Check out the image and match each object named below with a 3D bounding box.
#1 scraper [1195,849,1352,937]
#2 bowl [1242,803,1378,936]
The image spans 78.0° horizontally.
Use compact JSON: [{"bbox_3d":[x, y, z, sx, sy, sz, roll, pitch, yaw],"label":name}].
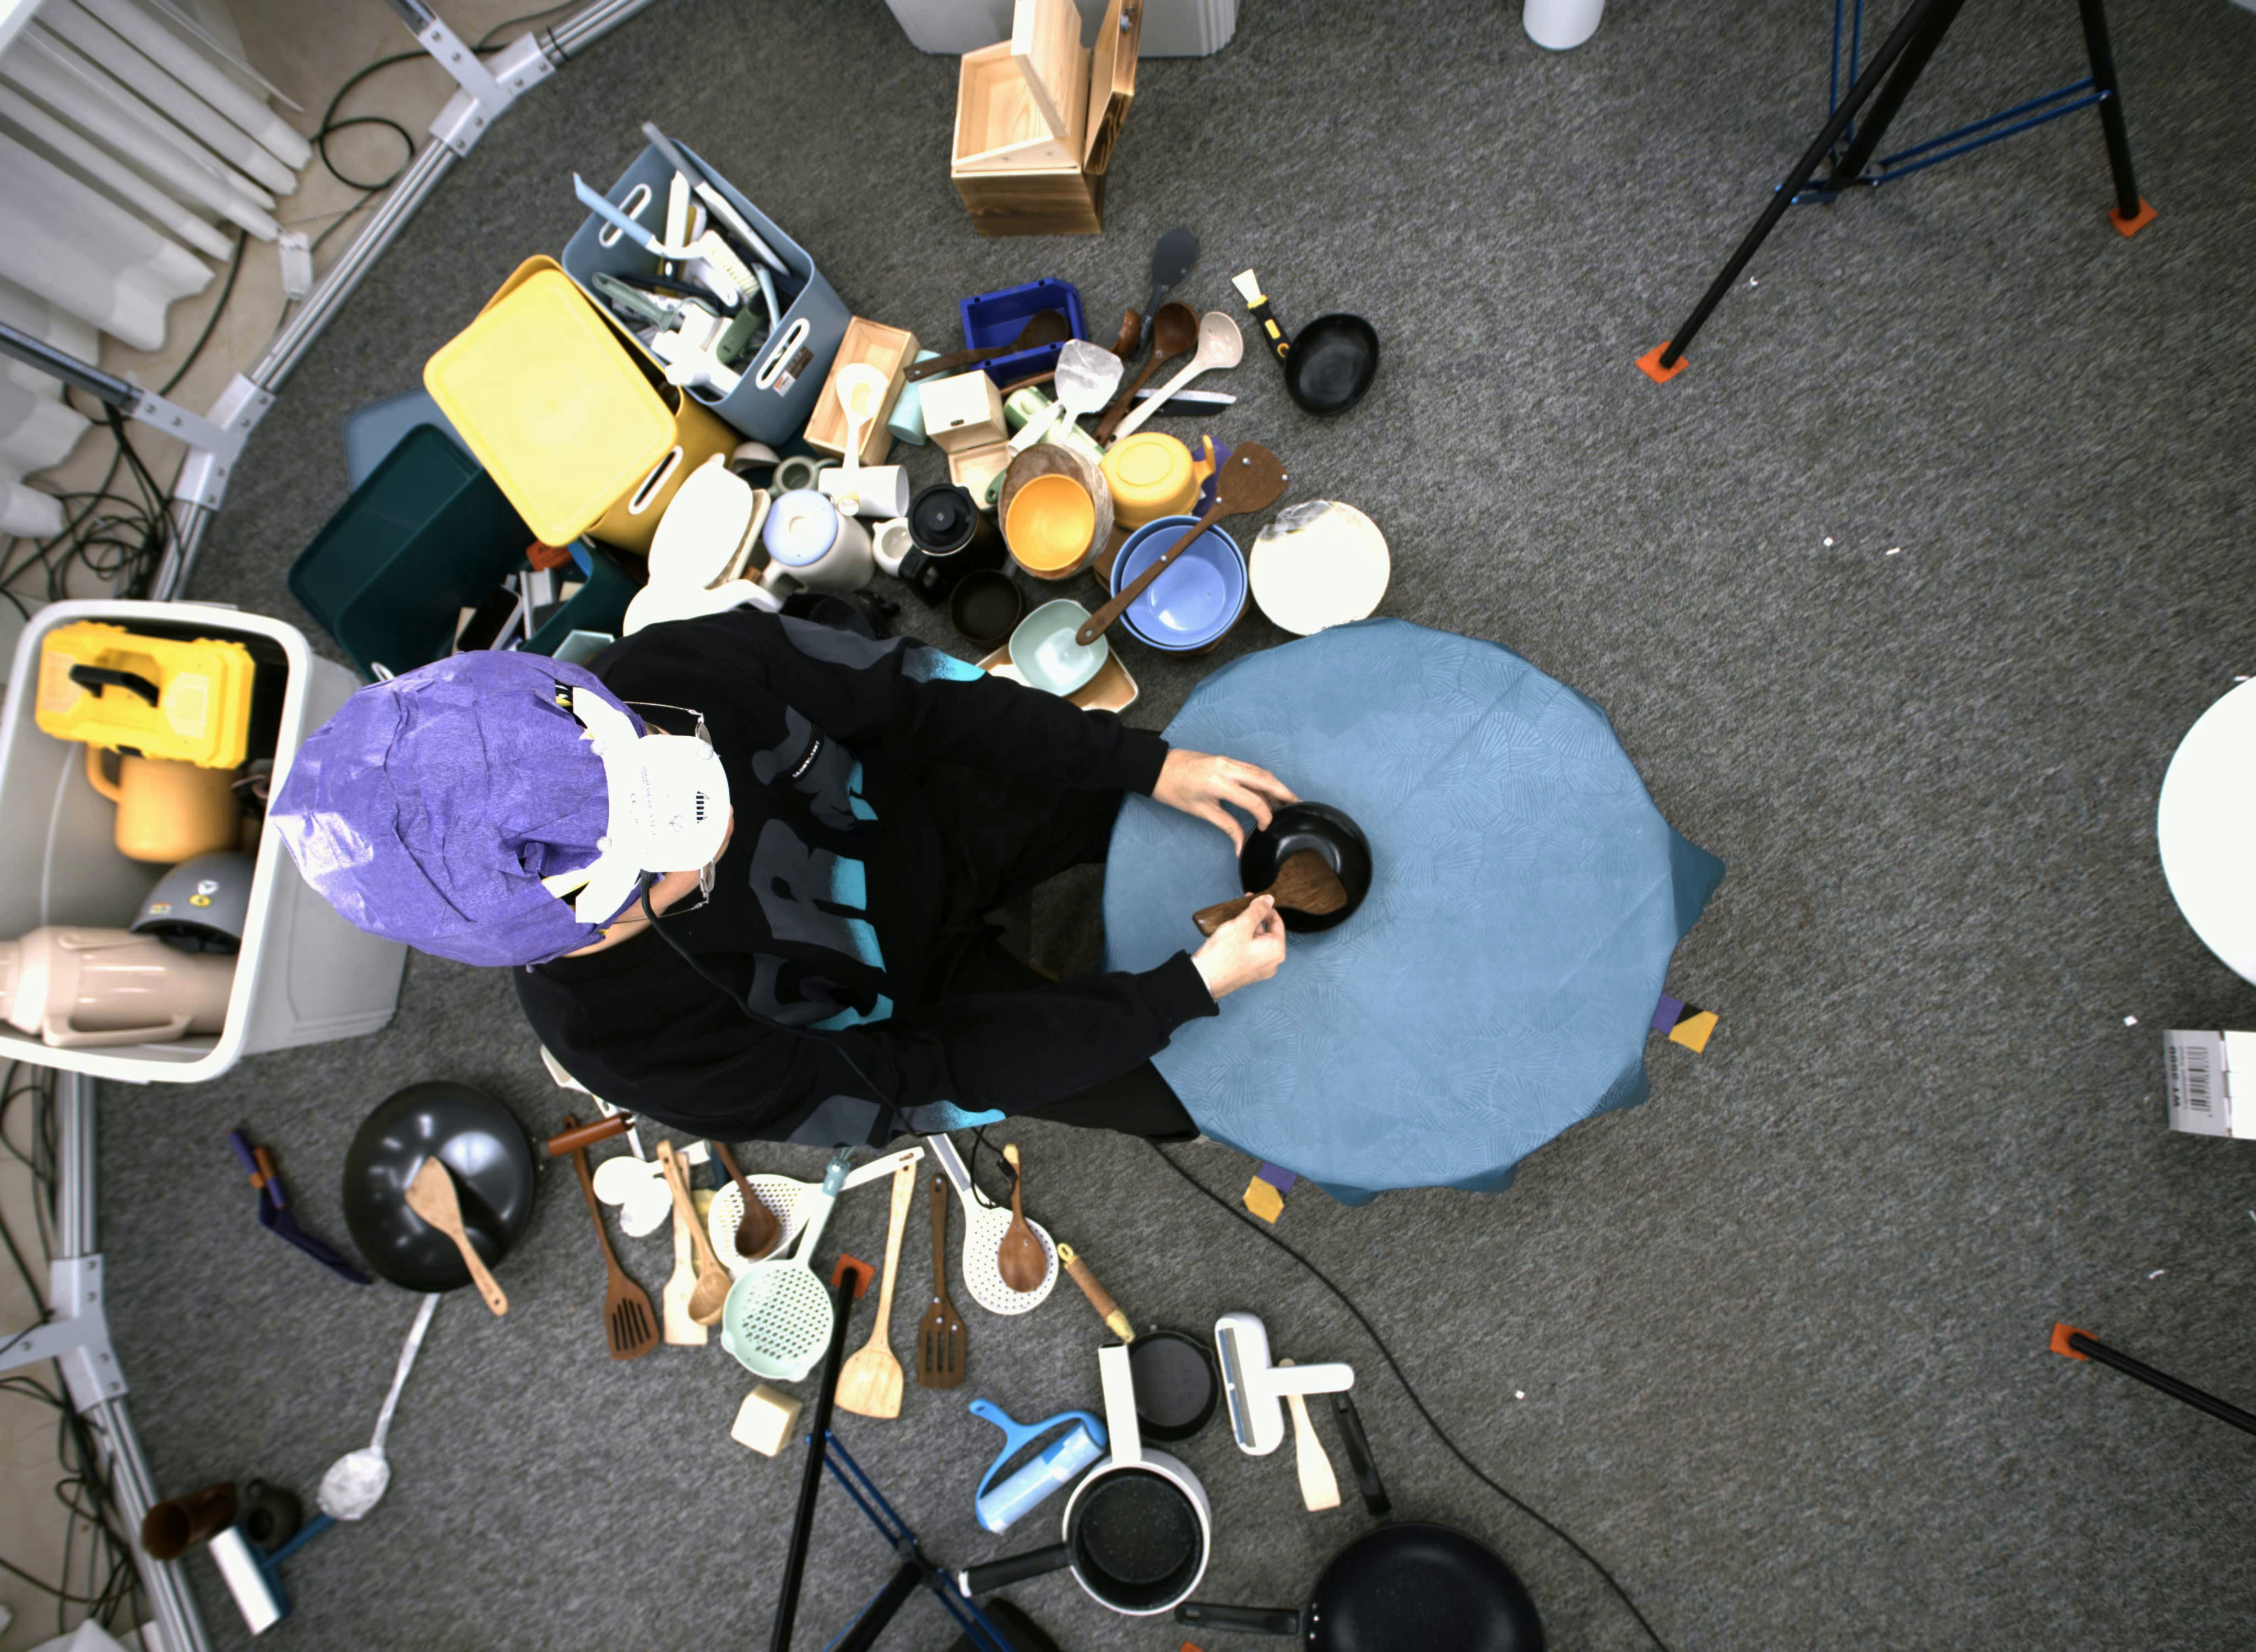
[{"bbox_3d":[0.144,0.075,1.396,0.075,0.208,0.011,58,136,17],"label":"scraper"},{"bbox_3d":[0.189,0.043,1.451,0.140,0.049,0.140,1,97,7],"label":"bowl"}]
